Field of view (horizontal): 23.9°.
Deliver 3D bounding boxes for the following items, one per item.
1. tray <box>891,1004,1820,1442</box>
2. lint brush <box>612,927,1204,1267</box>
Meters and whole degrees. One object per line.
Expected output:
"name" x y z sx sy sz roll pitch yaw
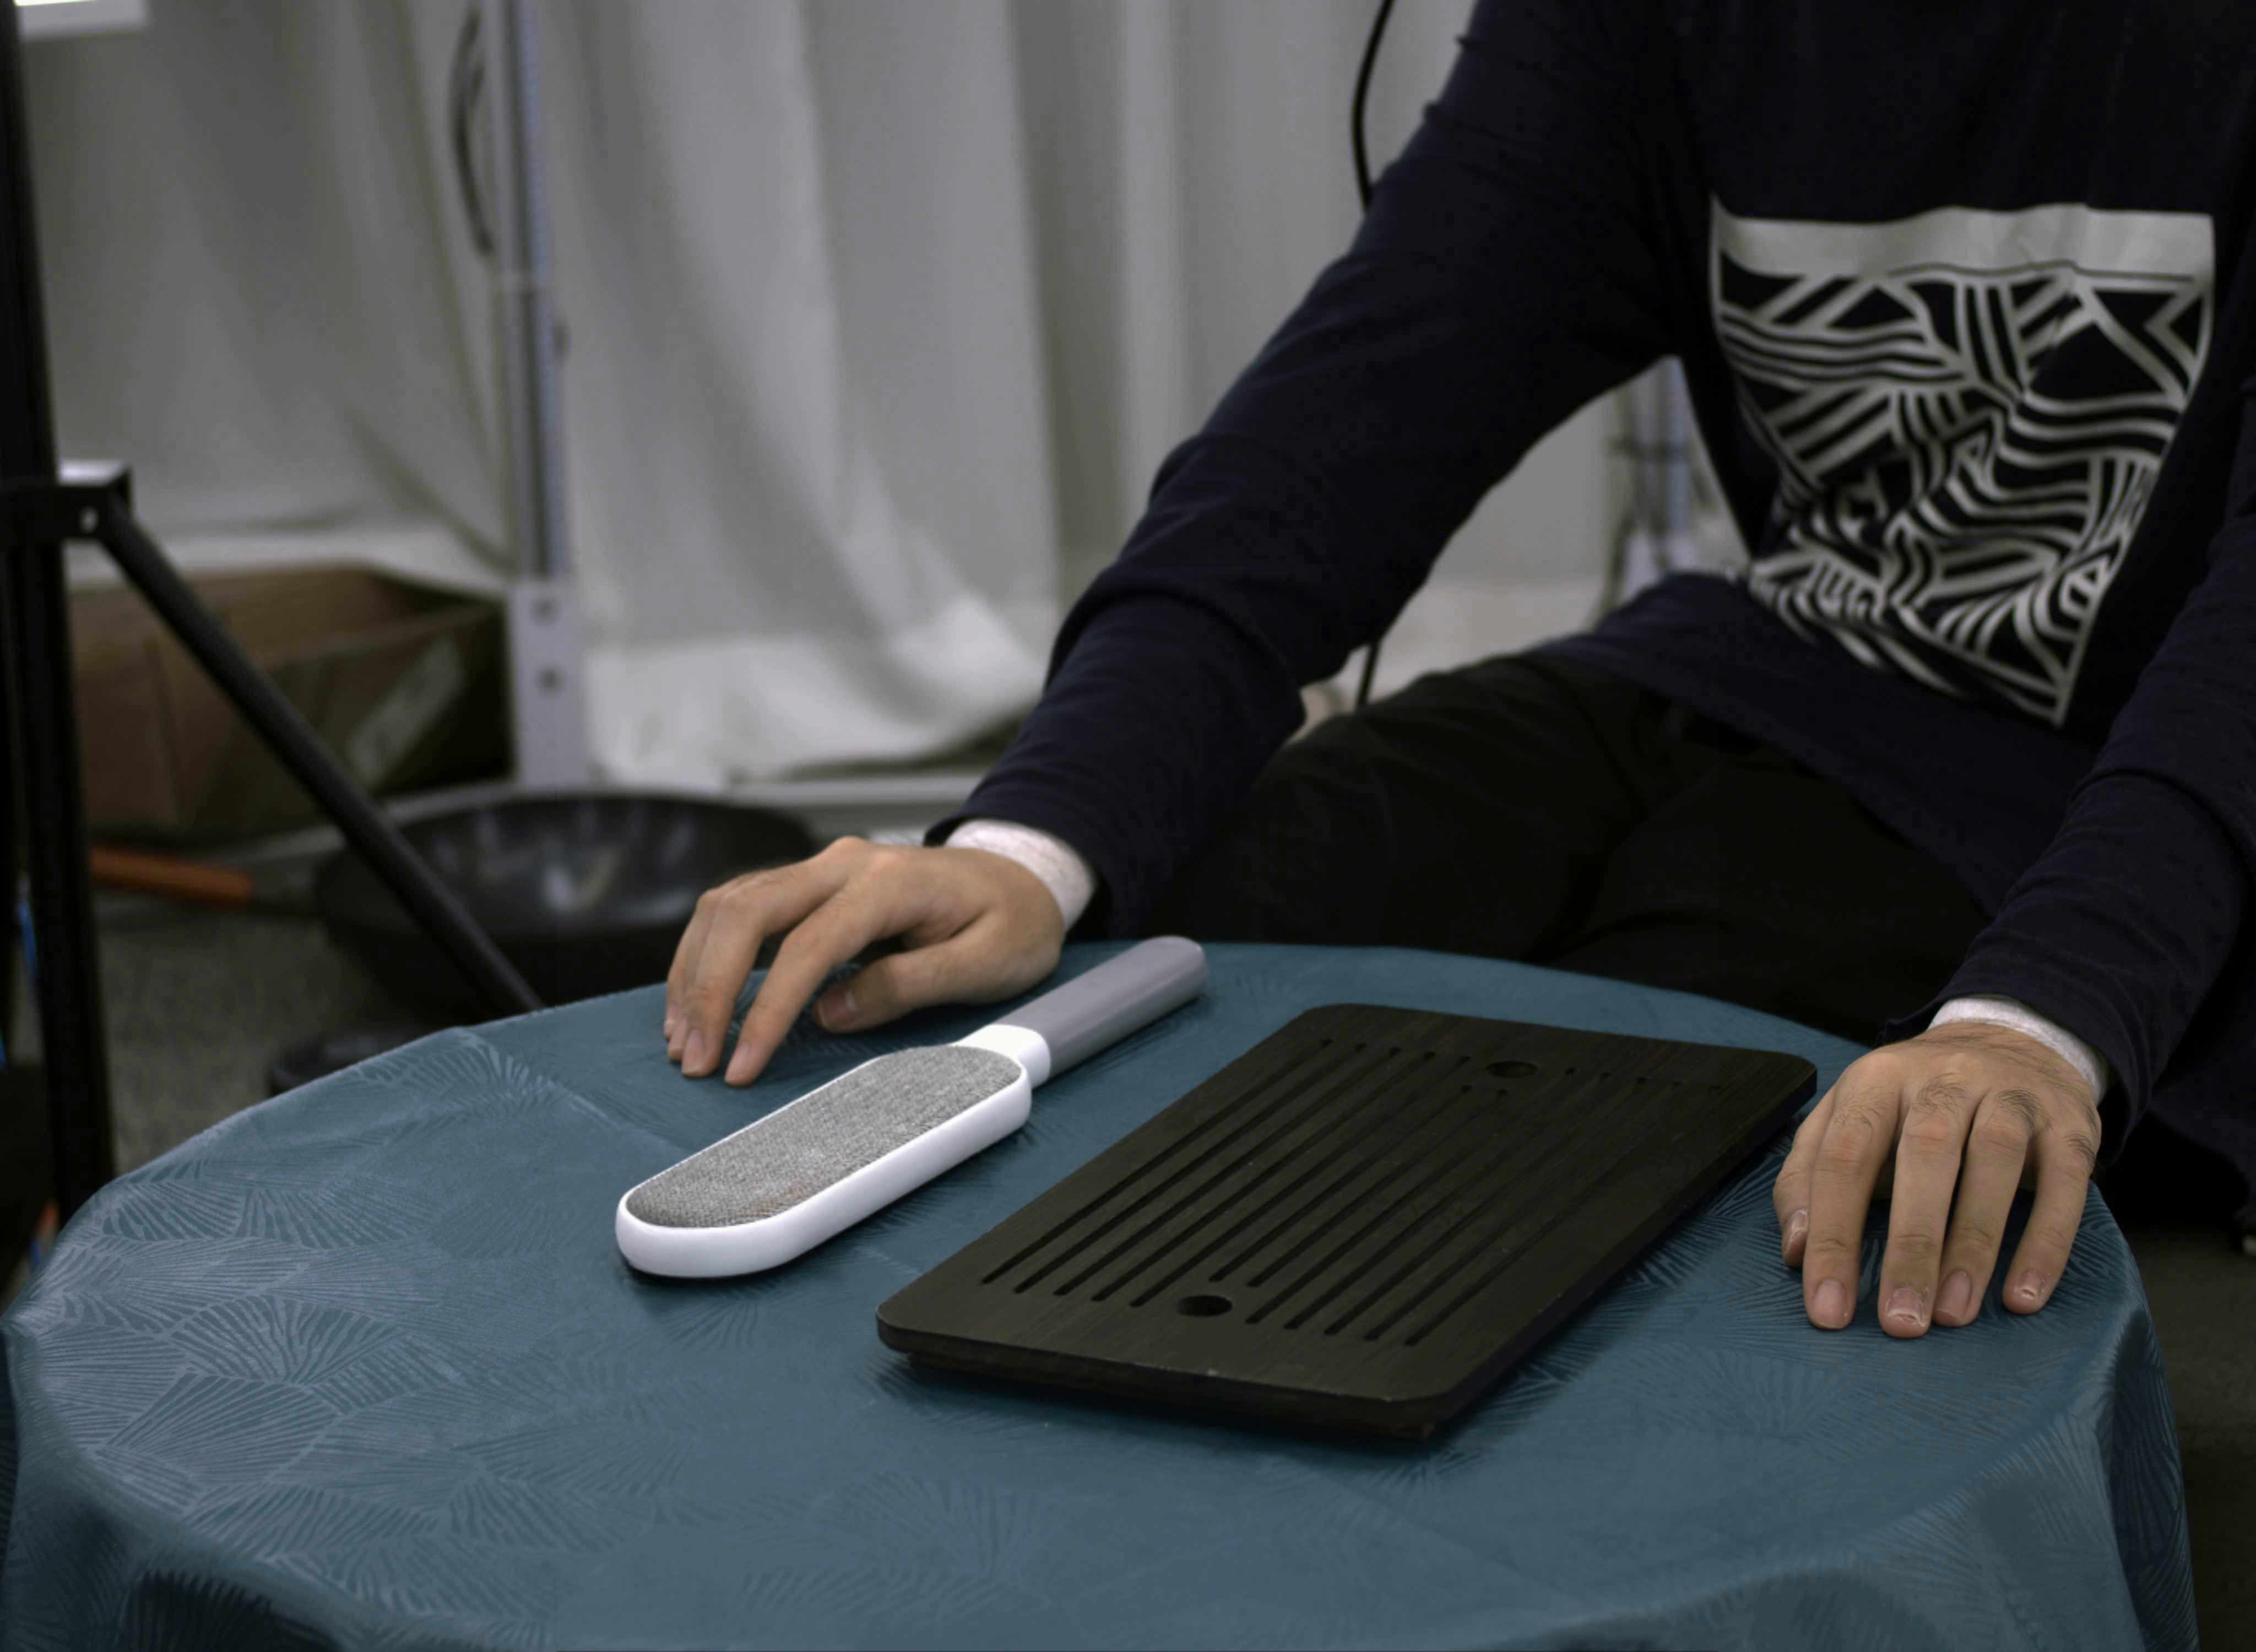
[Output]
"tray" 0.073 0.110 1.514 0.173 0.018 0.301 5 17 26
"lint brush" -0.056 0.079 1.623 0.061 0.021 0.303 1 15 31
